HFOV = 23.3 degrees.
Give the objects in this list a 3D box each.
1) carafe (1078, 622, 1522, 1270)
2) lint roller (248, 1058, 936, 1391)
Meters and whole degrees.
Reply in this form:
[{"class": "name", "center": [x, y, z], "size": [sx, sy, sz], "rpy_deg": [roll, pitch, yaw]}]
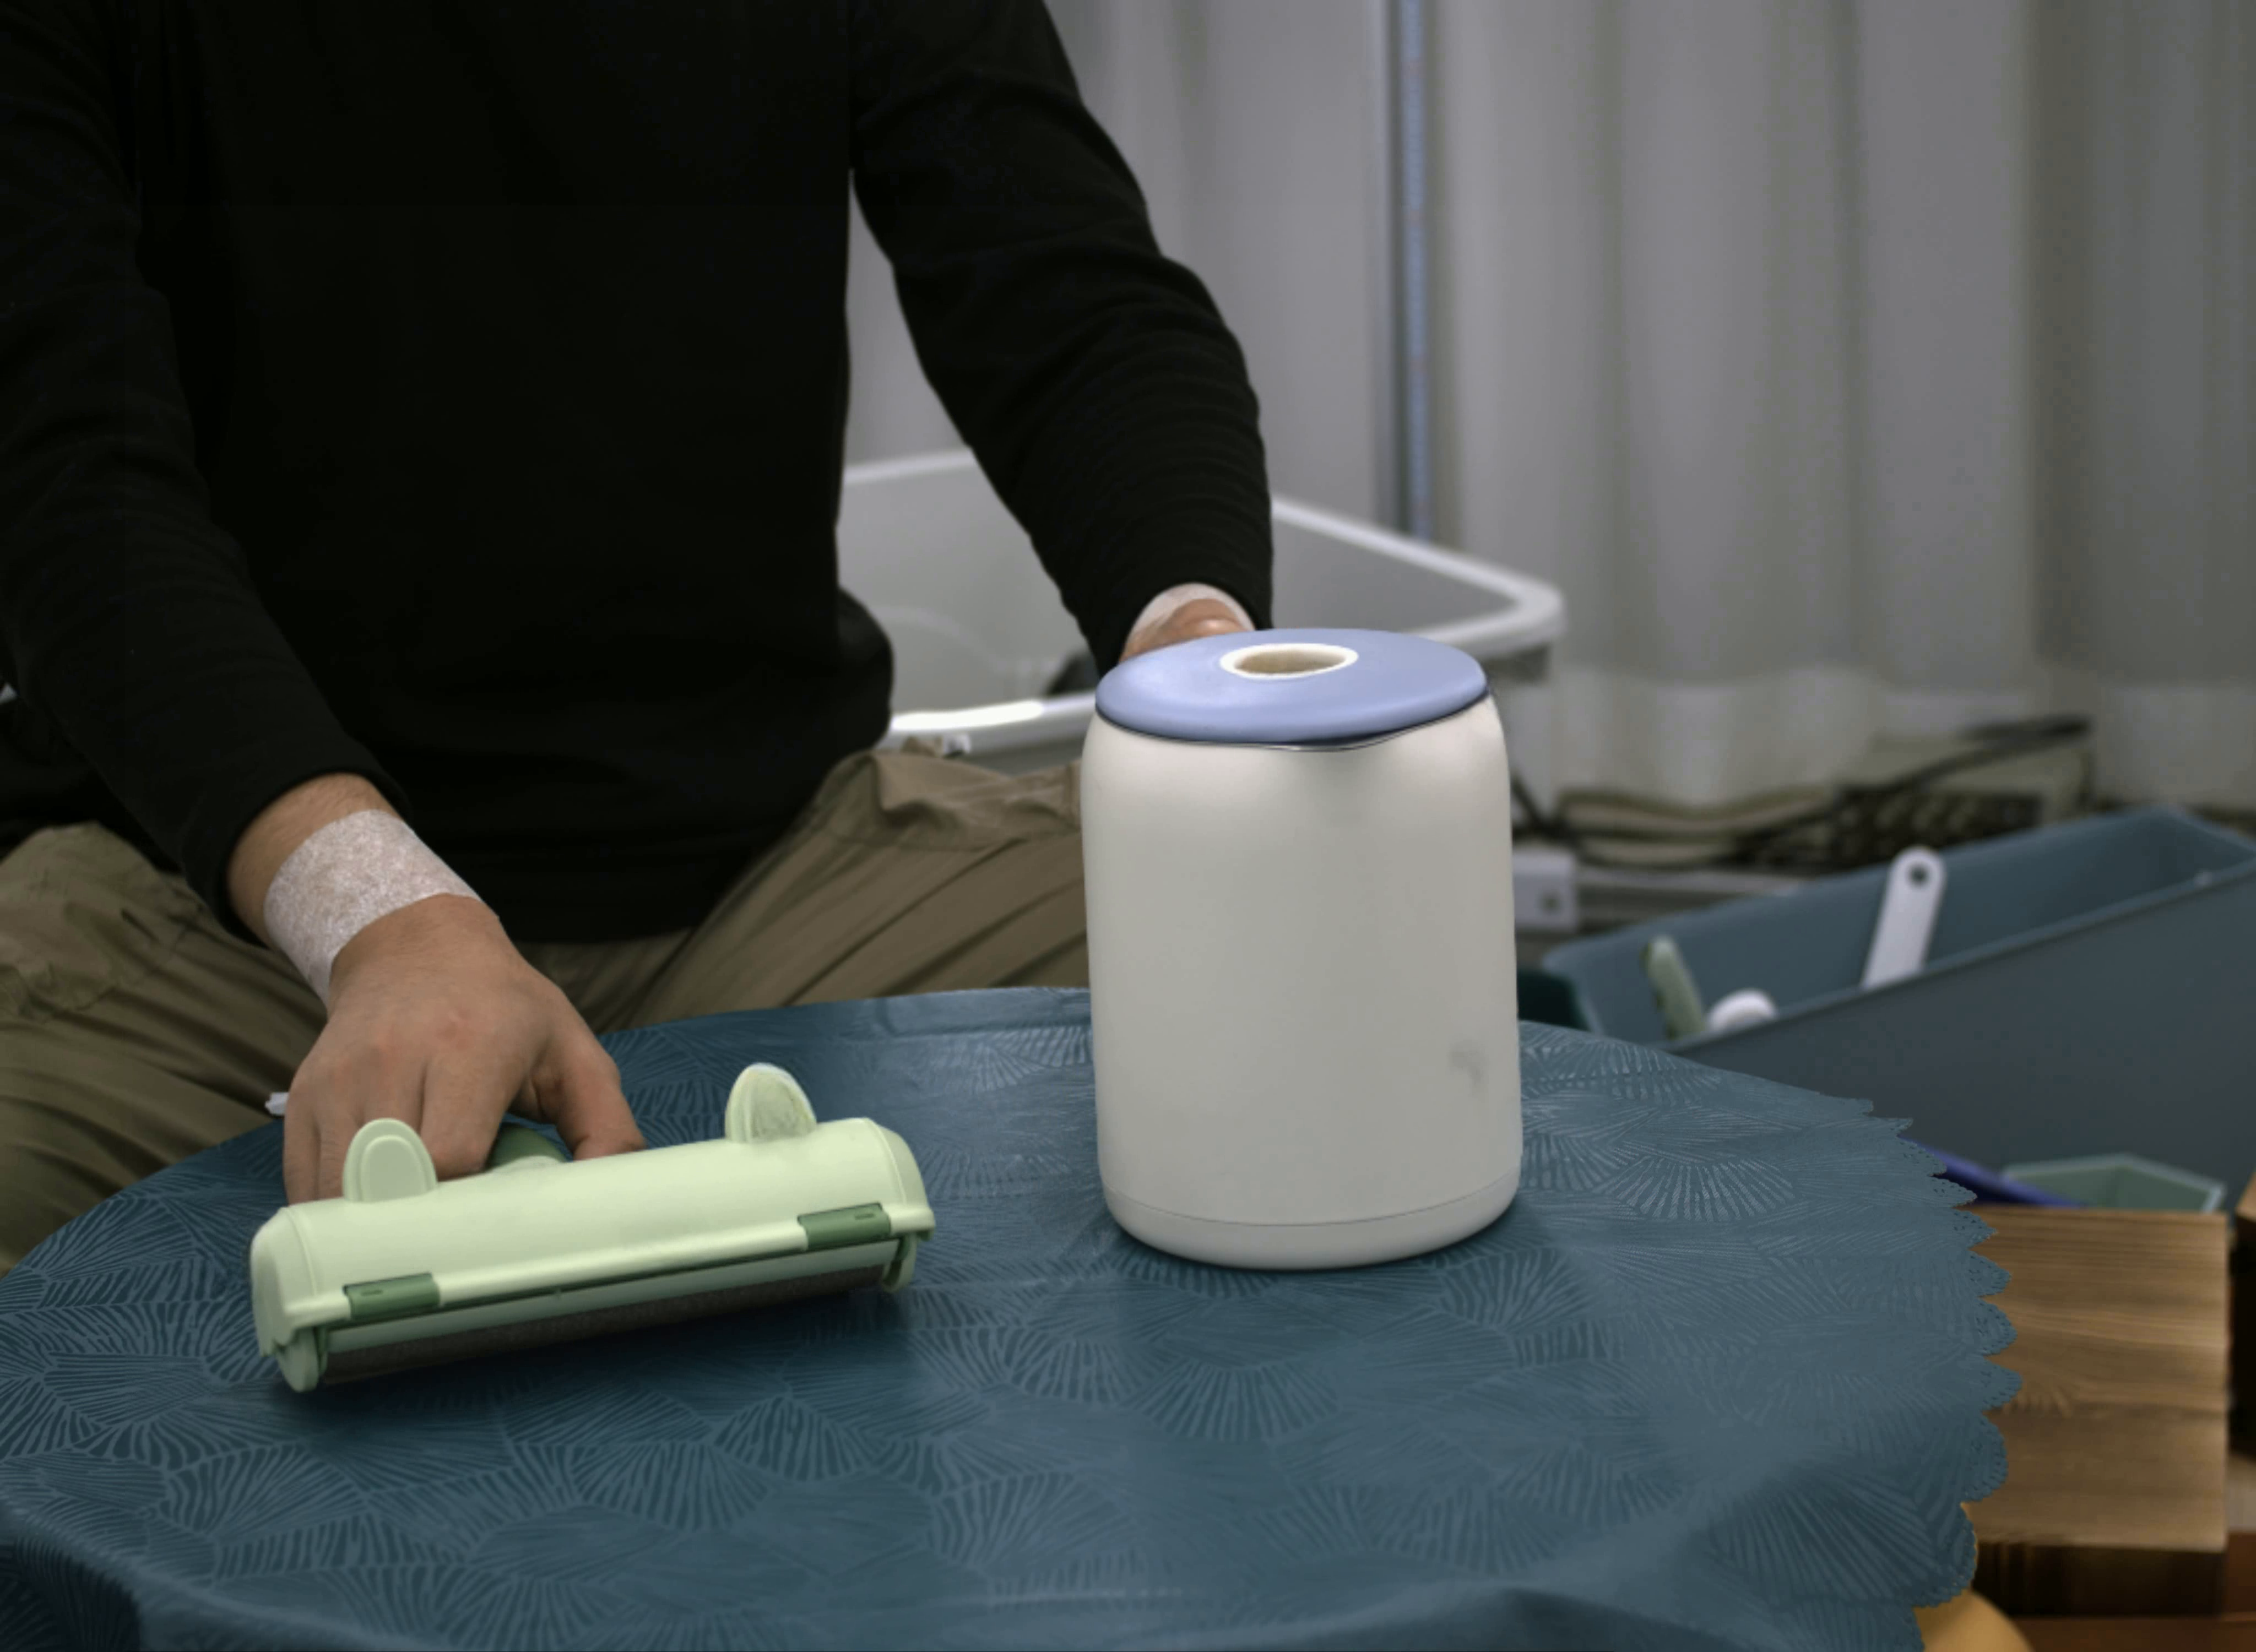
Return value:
[{"class": "carafe", "center": [0.047, 0.030, 1.692], "size": [0.131, 0.182, 0.192], "rpy_deg": [-5, 12, -13]}, {"class": "lint roller", "center": [-0.176, 0.102, 1.644], "size": [0.197, 0.082, 0.185], "rpy_deg": [-7, 19, -20]}]
